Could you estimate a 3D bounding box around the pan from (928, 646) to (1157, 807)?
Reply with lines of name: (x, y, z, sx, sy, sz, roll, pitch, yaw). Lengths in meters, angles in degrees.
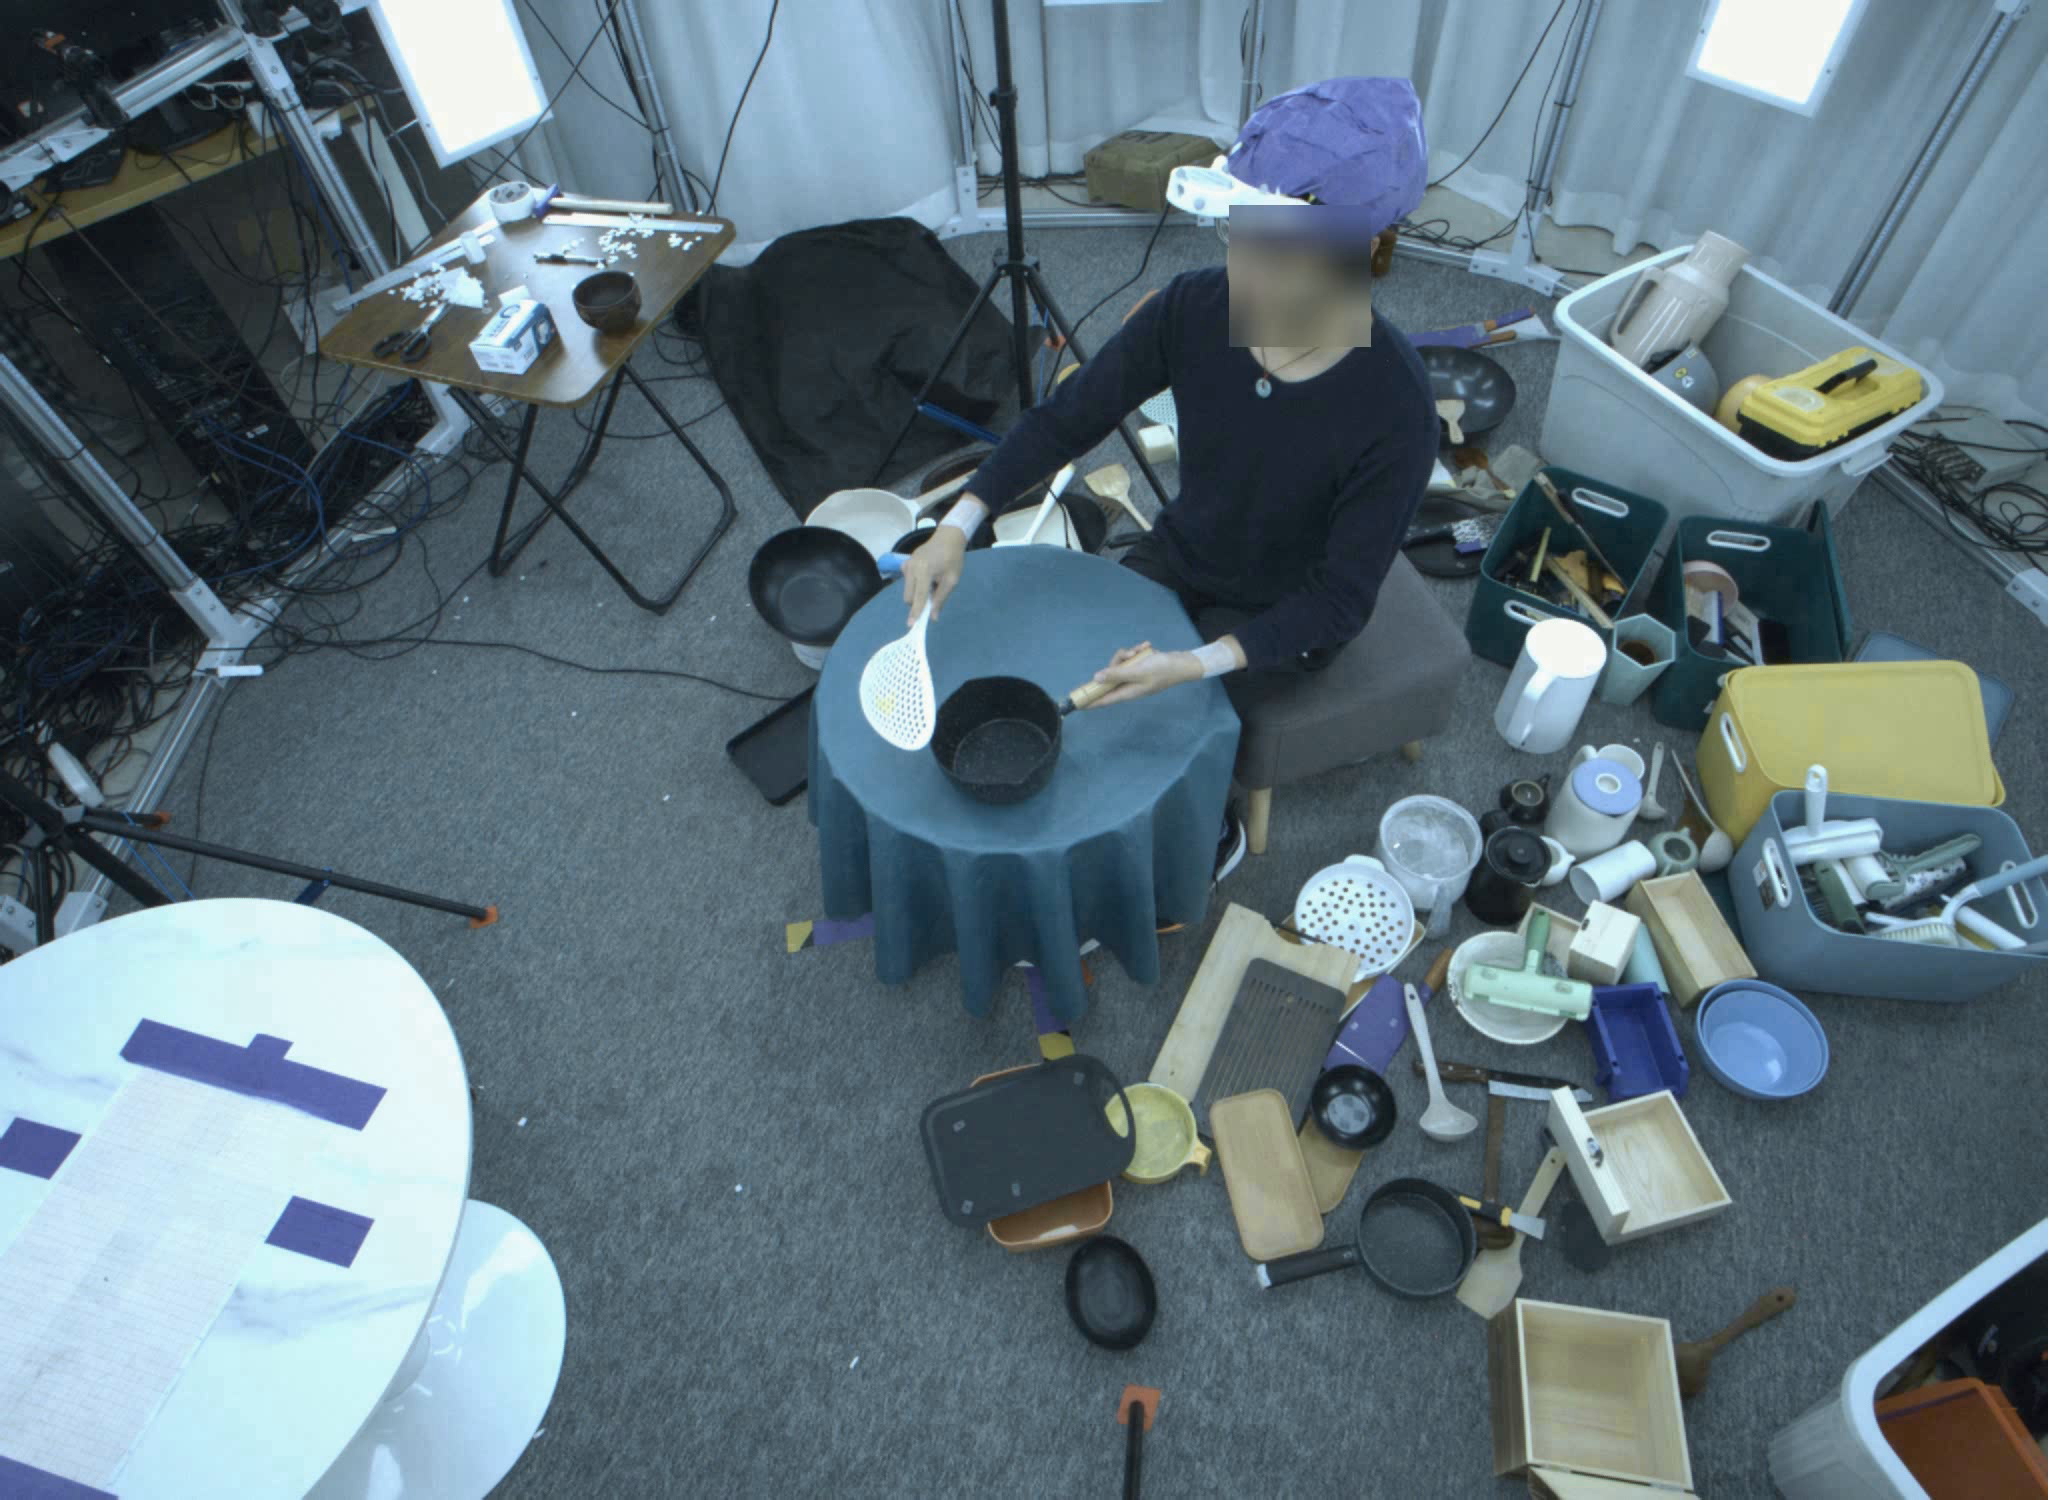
pan: (0.034, -0.045, 1.735, 0.344, 0.110, 0.203, -25, 56, -7)

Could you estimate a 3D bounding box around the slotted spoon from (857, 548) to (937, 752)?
slotted spoon: (-0.163, -0.153, 1.738, 0.049, 0.140, 0.346, -17, 50, 43)
